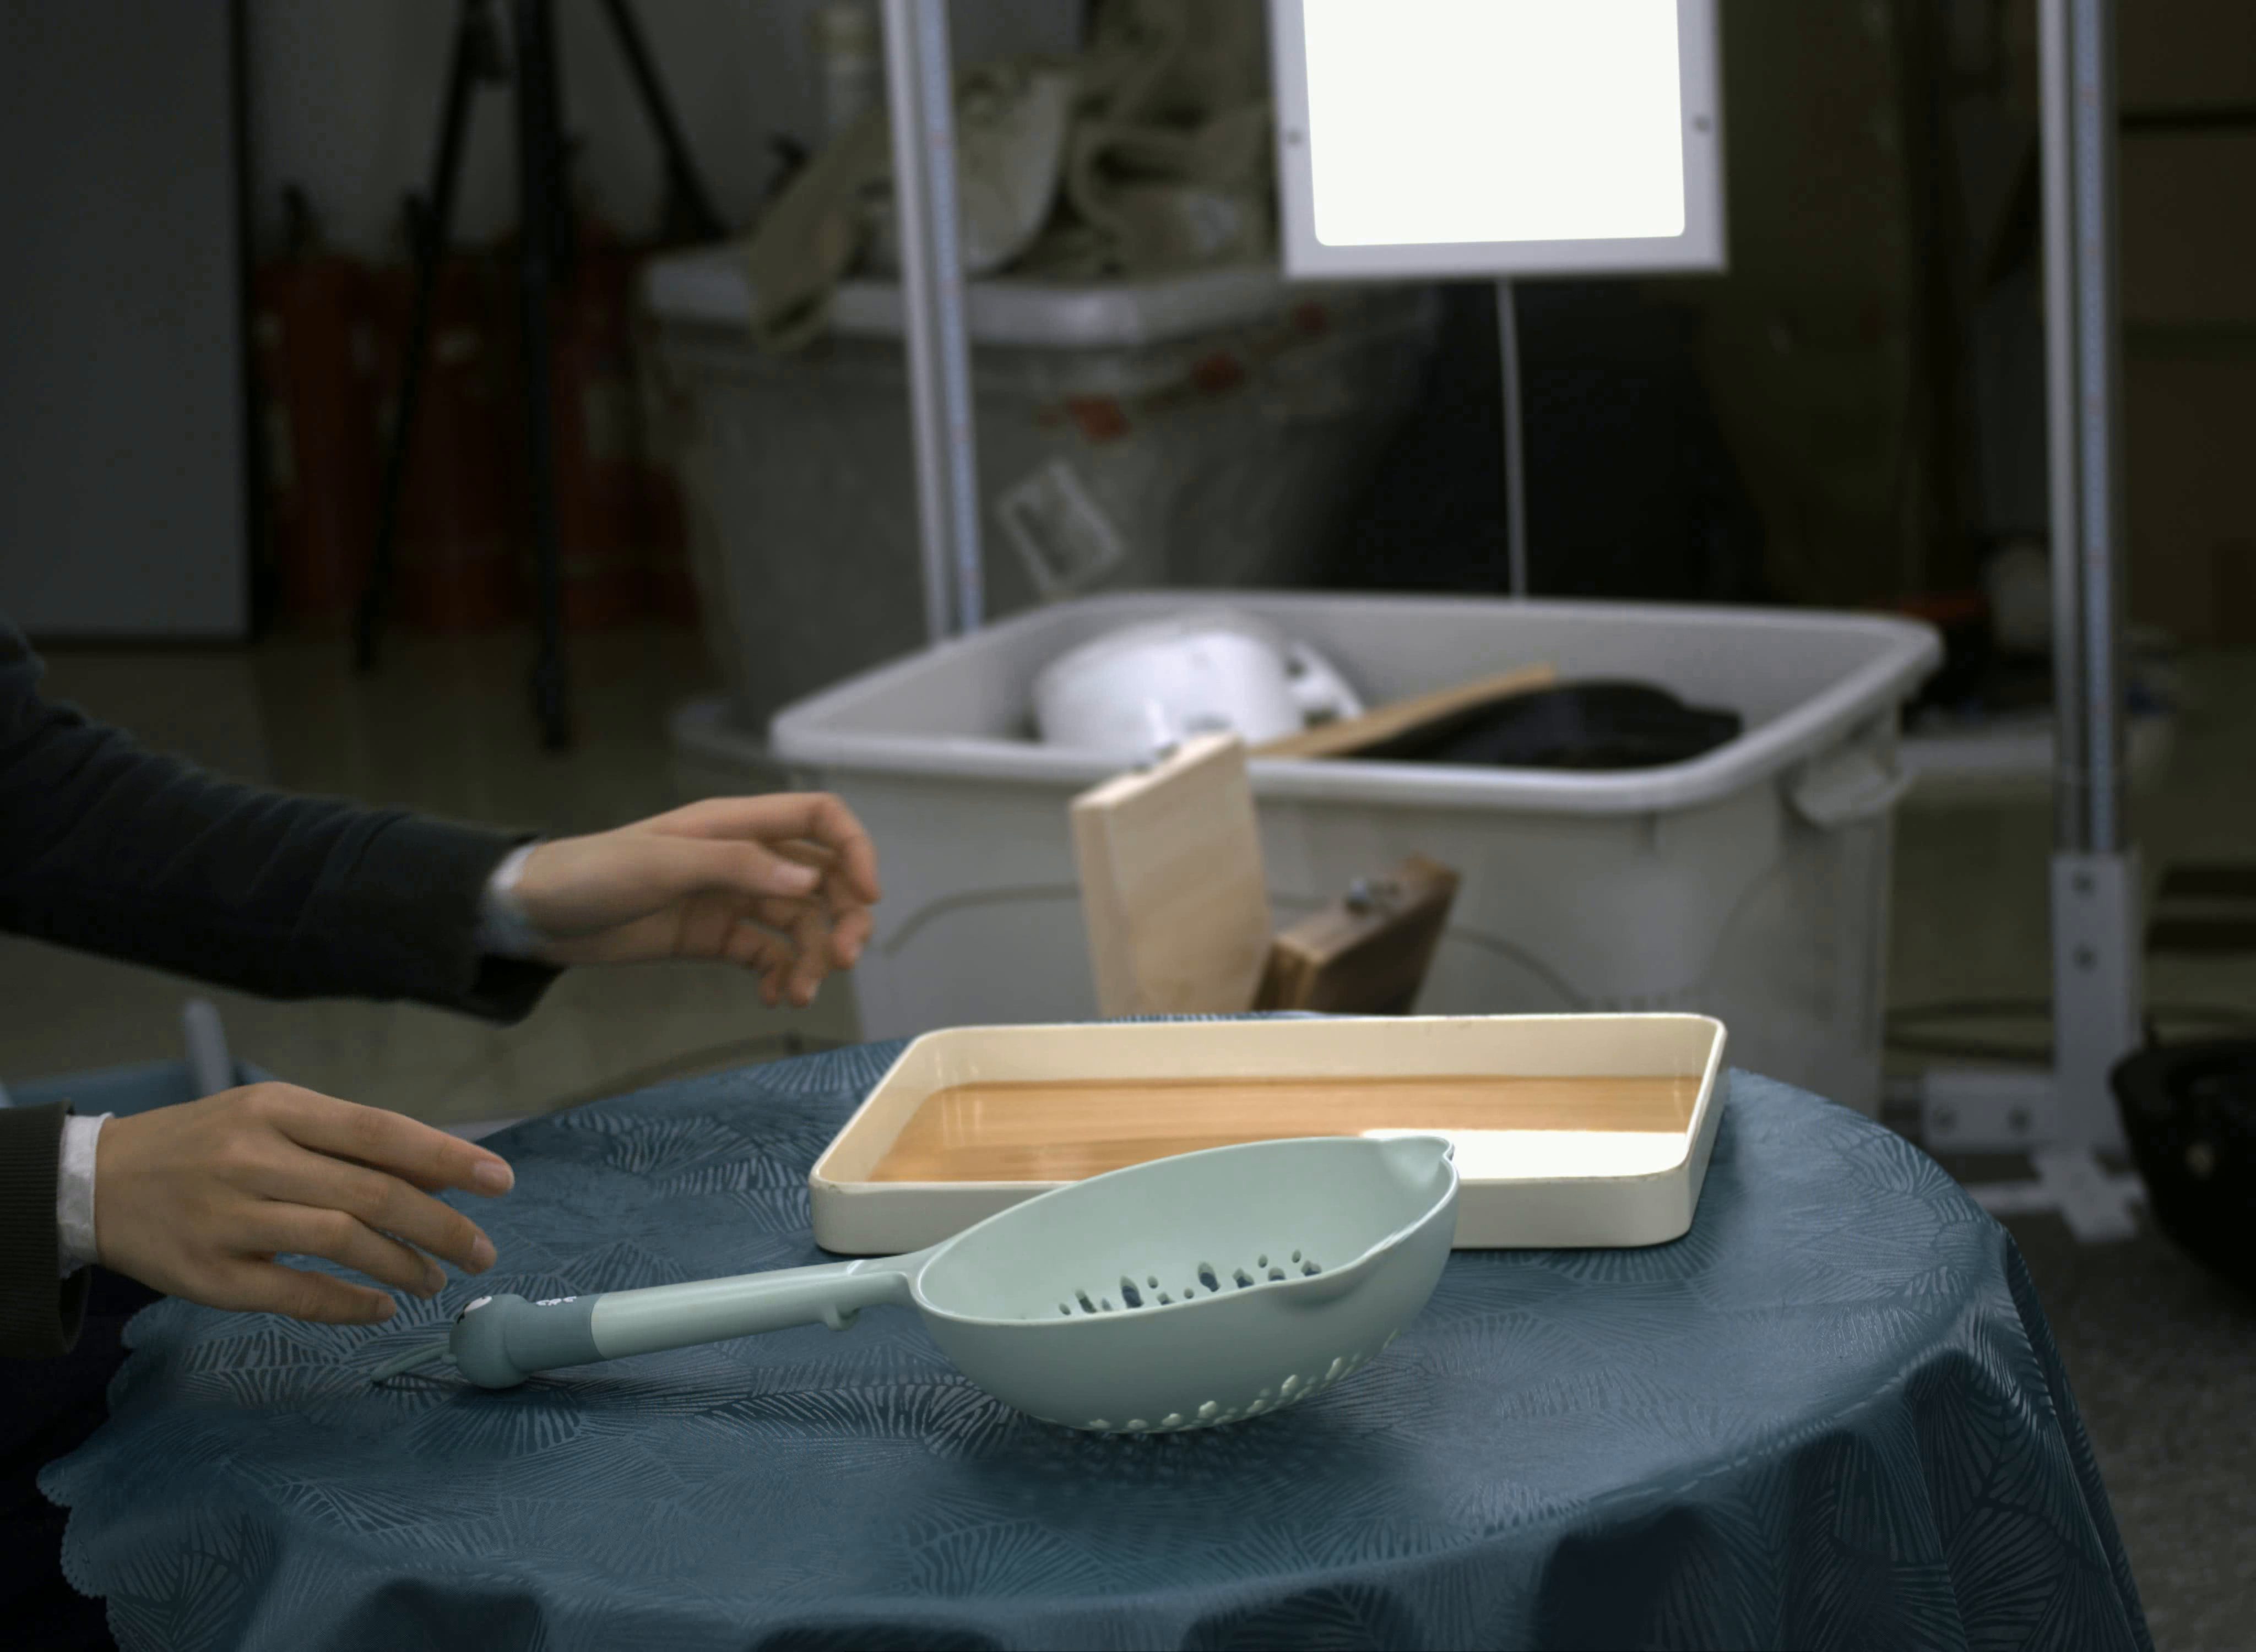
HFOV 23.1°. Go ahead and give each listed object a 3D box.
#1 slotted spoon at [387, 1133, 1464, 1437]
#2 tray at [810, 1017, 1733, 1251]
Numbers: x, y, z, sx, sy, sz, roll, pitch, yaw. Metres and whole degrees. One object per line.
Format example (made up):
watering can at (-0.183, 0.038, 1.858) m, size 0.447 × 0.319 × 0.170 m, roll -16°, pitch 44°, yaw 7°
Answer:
slotted spoon at (-0.070, 0.146, 1.707) m, size 0.363 × 0.075 × 0.166 m, roll 0°, pitch 14°, yaw 20°
tray at (0.054, 0.106, 1.906) m, size 0.303 × 0.027 × 0.189 m, roll -1°, pitch 14°, yaw 14°
